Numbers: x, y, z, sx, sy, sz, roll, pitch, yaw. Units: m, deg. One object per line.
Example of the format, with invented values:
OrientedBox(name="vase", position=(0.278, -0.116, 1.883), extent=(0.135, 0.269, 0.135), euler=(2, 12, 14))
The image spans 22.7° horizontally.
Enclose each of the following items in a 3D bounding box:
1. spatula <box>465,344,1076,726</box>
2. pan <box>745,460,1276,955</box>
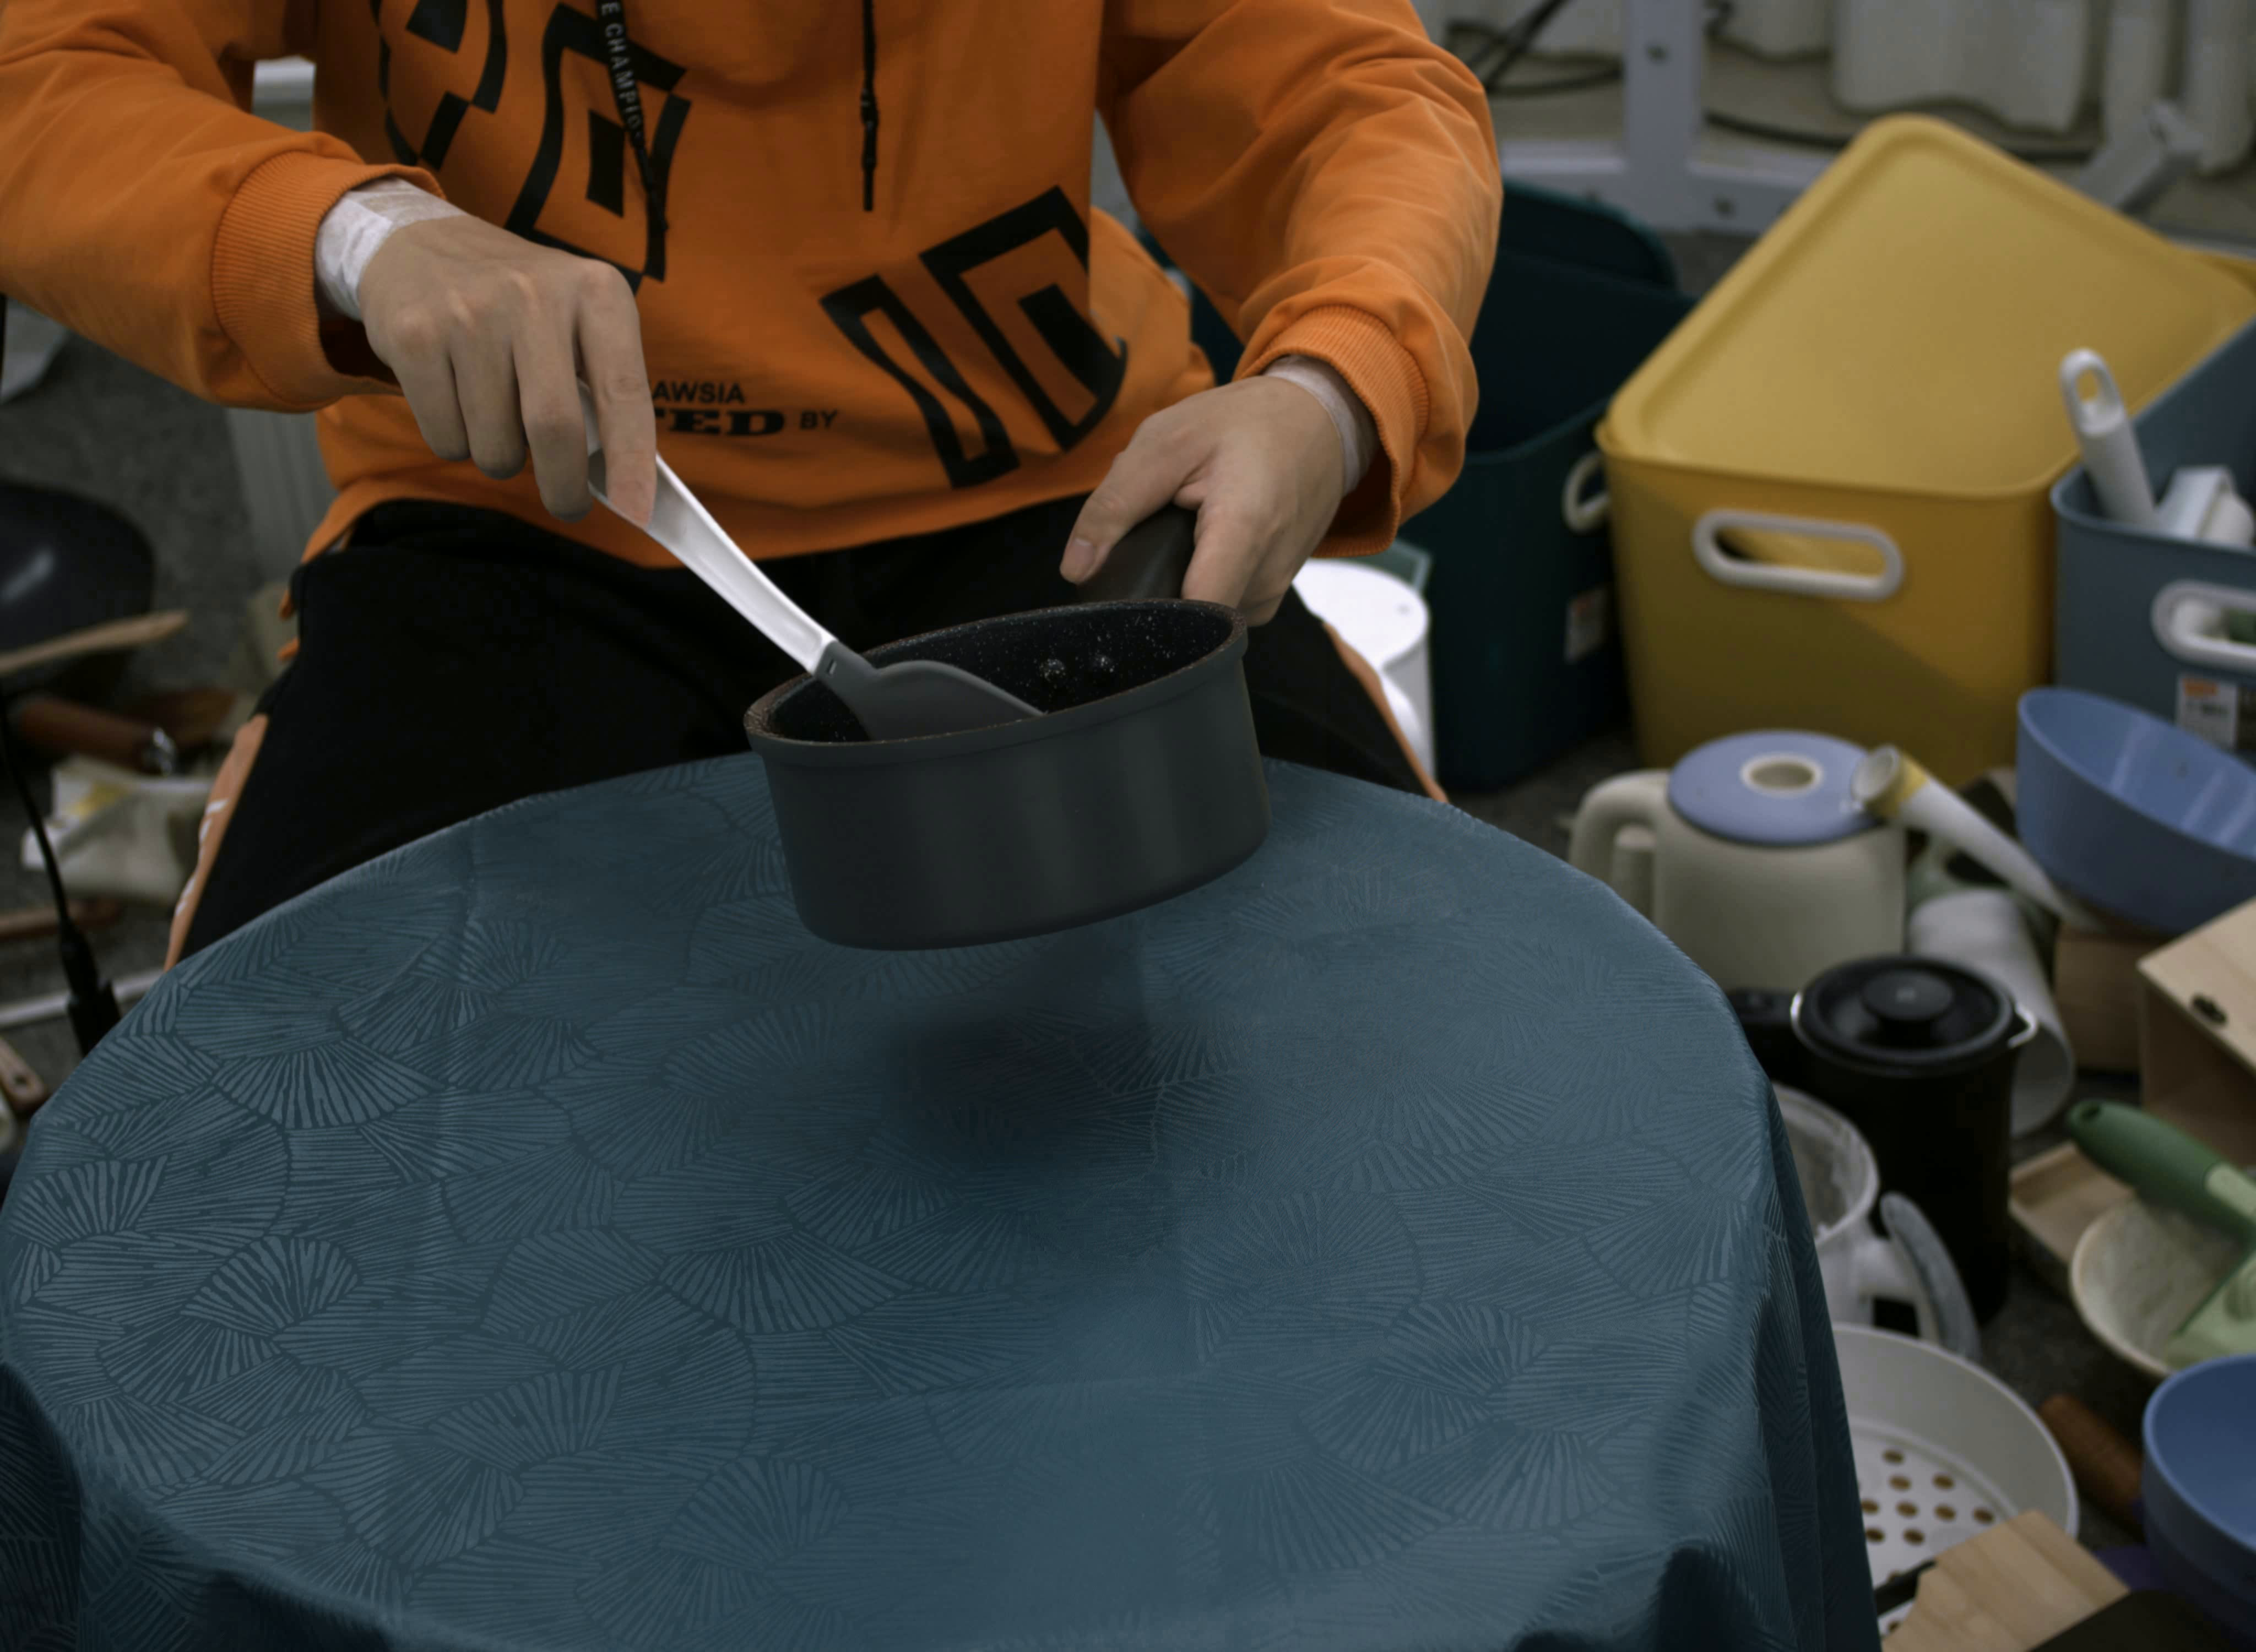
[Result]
OrientedBox(name="spatula", position=(-0.118, -0.082, 1.934), extent=(0.288, 0.058, 0.032), euler=(35, 22, 26))
OrientedBox(name="pan", position=(-0.012, -0.044, 1.953), extent=(0.170, 0.086, 0.333), euler=(-5, 16, 21))
